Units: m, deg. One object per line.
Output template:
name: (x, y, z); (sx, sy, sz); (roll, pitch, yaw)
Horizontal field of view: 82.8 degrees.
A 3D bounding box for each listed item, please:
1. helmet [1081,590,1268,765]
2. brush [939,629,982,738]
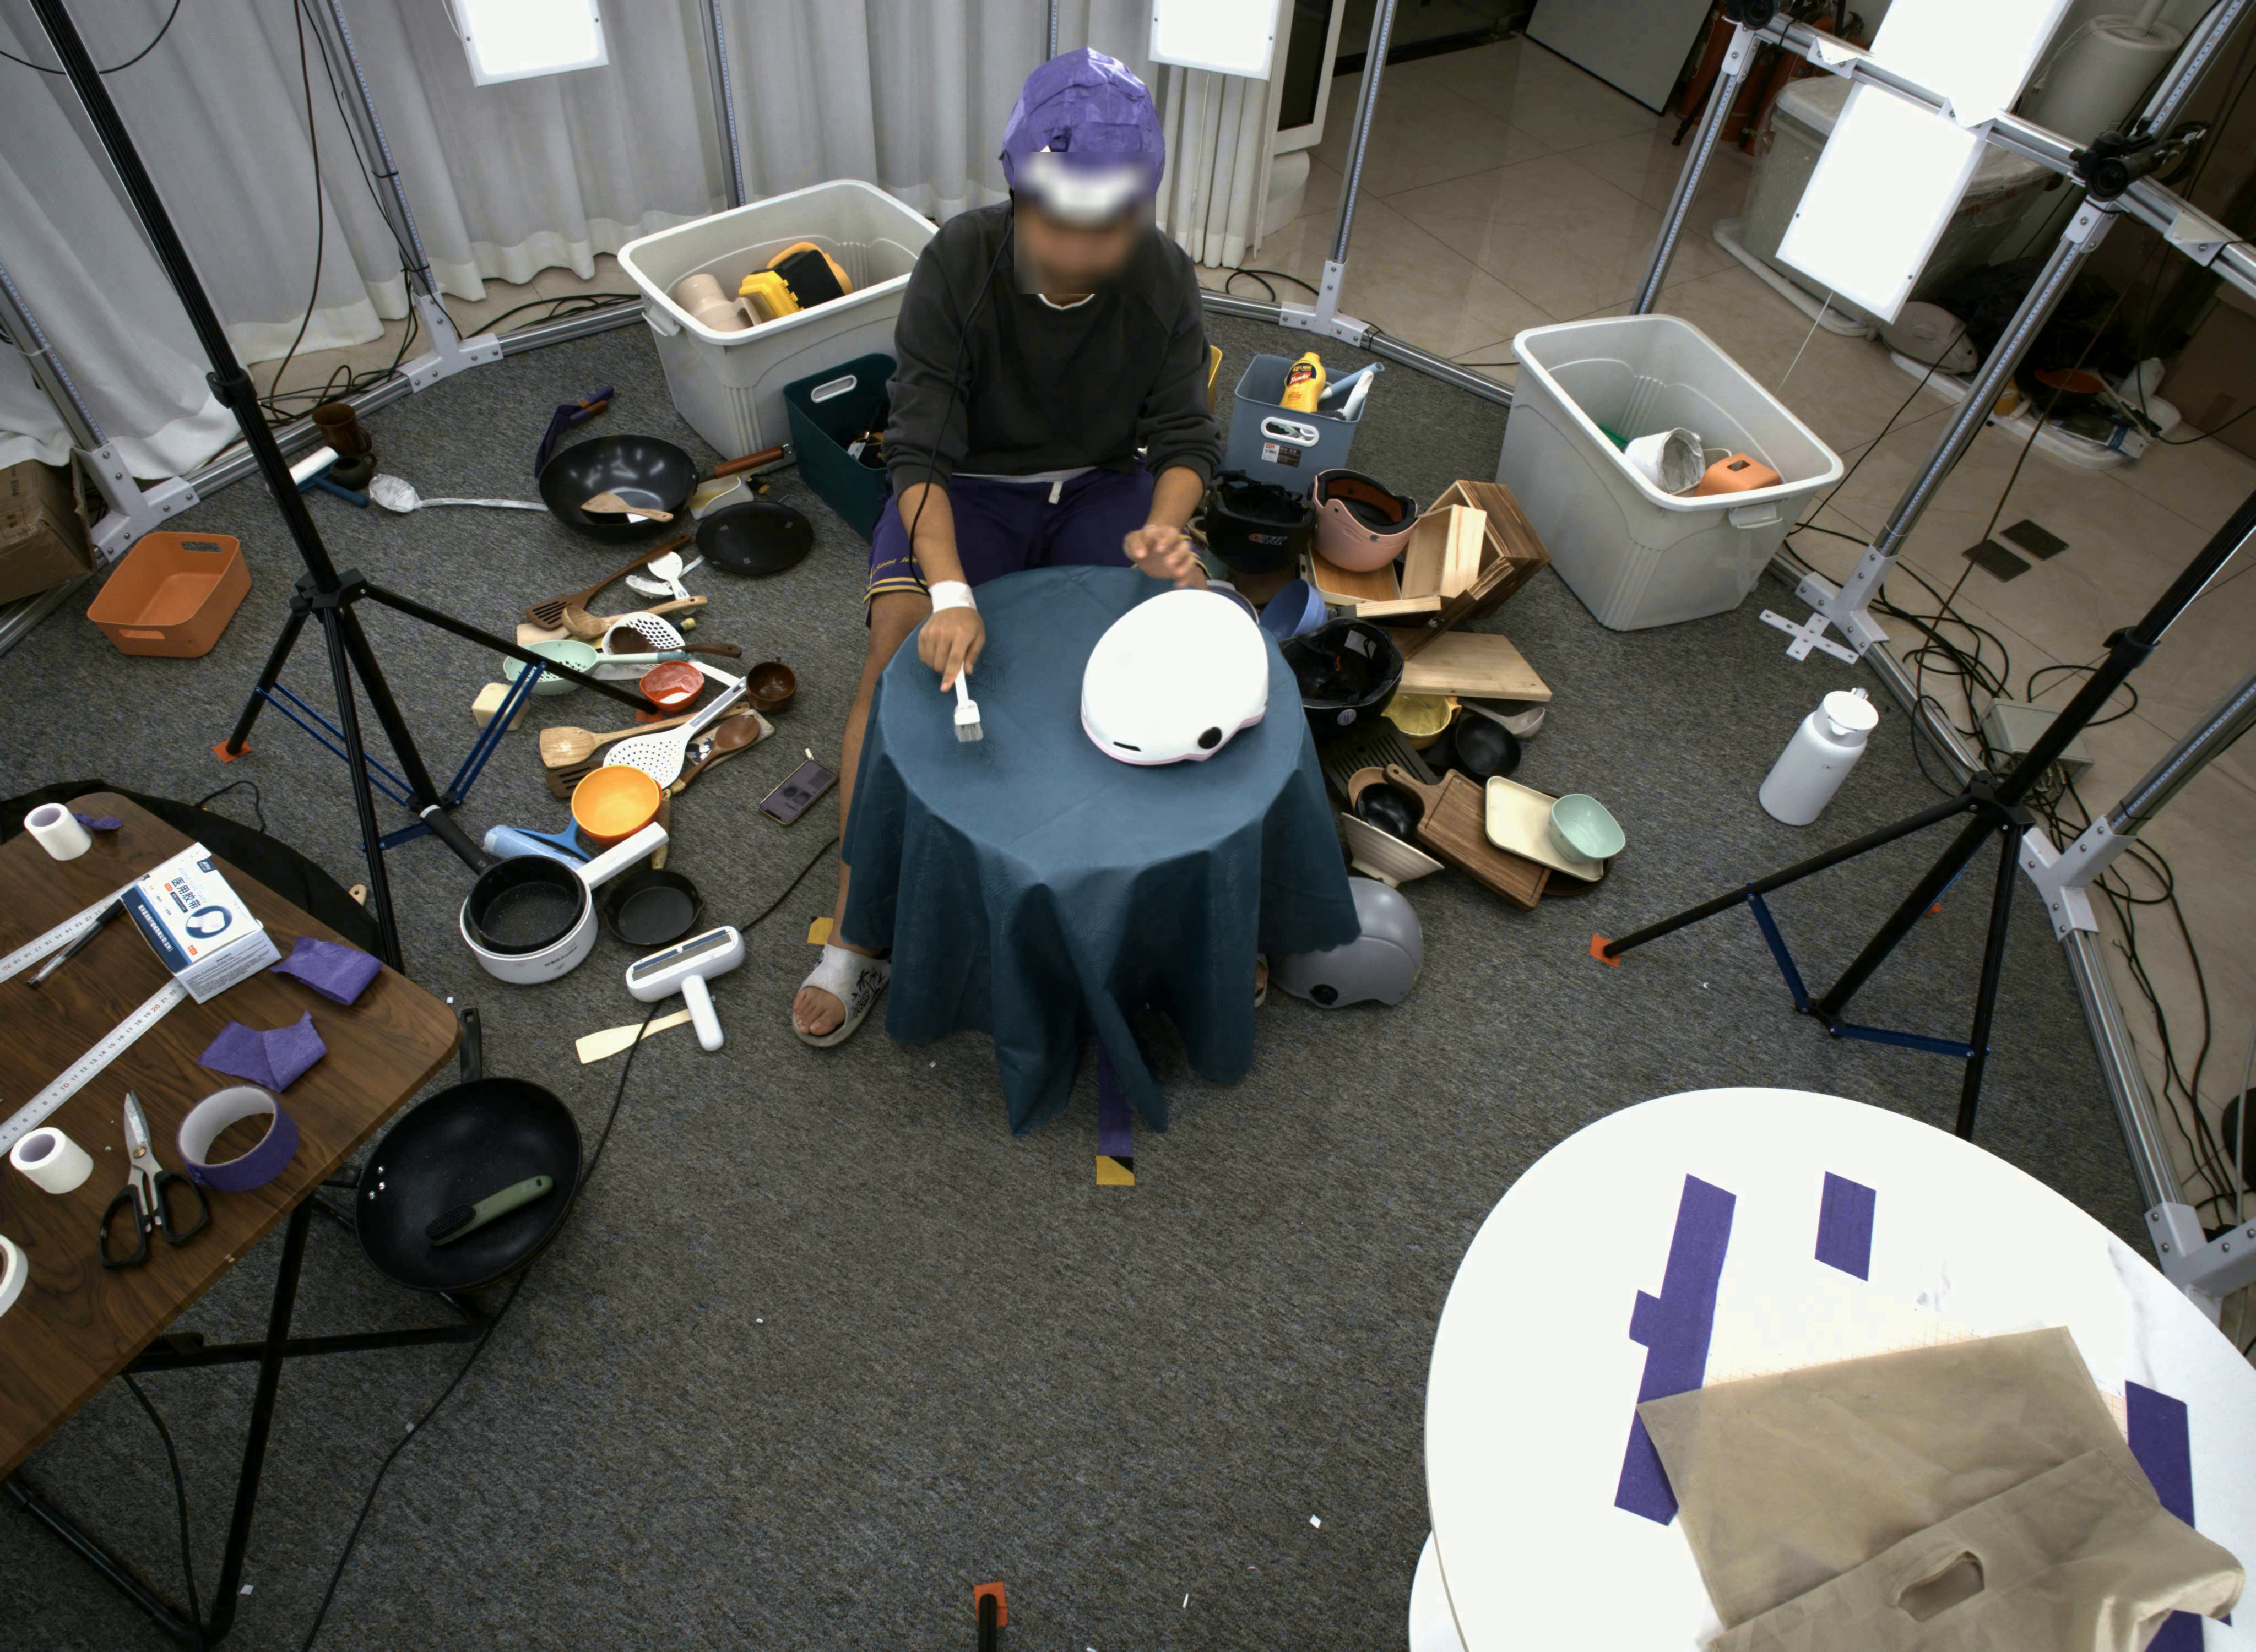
helmet: (0.068, -0.219, 1.756); (0.270, 0.163, 0.242); (-25, 55, -23)
brush: (-0.232, -0.195, 1.770); (0.034, 0.049, 0.249); (-10, 38, -9)
